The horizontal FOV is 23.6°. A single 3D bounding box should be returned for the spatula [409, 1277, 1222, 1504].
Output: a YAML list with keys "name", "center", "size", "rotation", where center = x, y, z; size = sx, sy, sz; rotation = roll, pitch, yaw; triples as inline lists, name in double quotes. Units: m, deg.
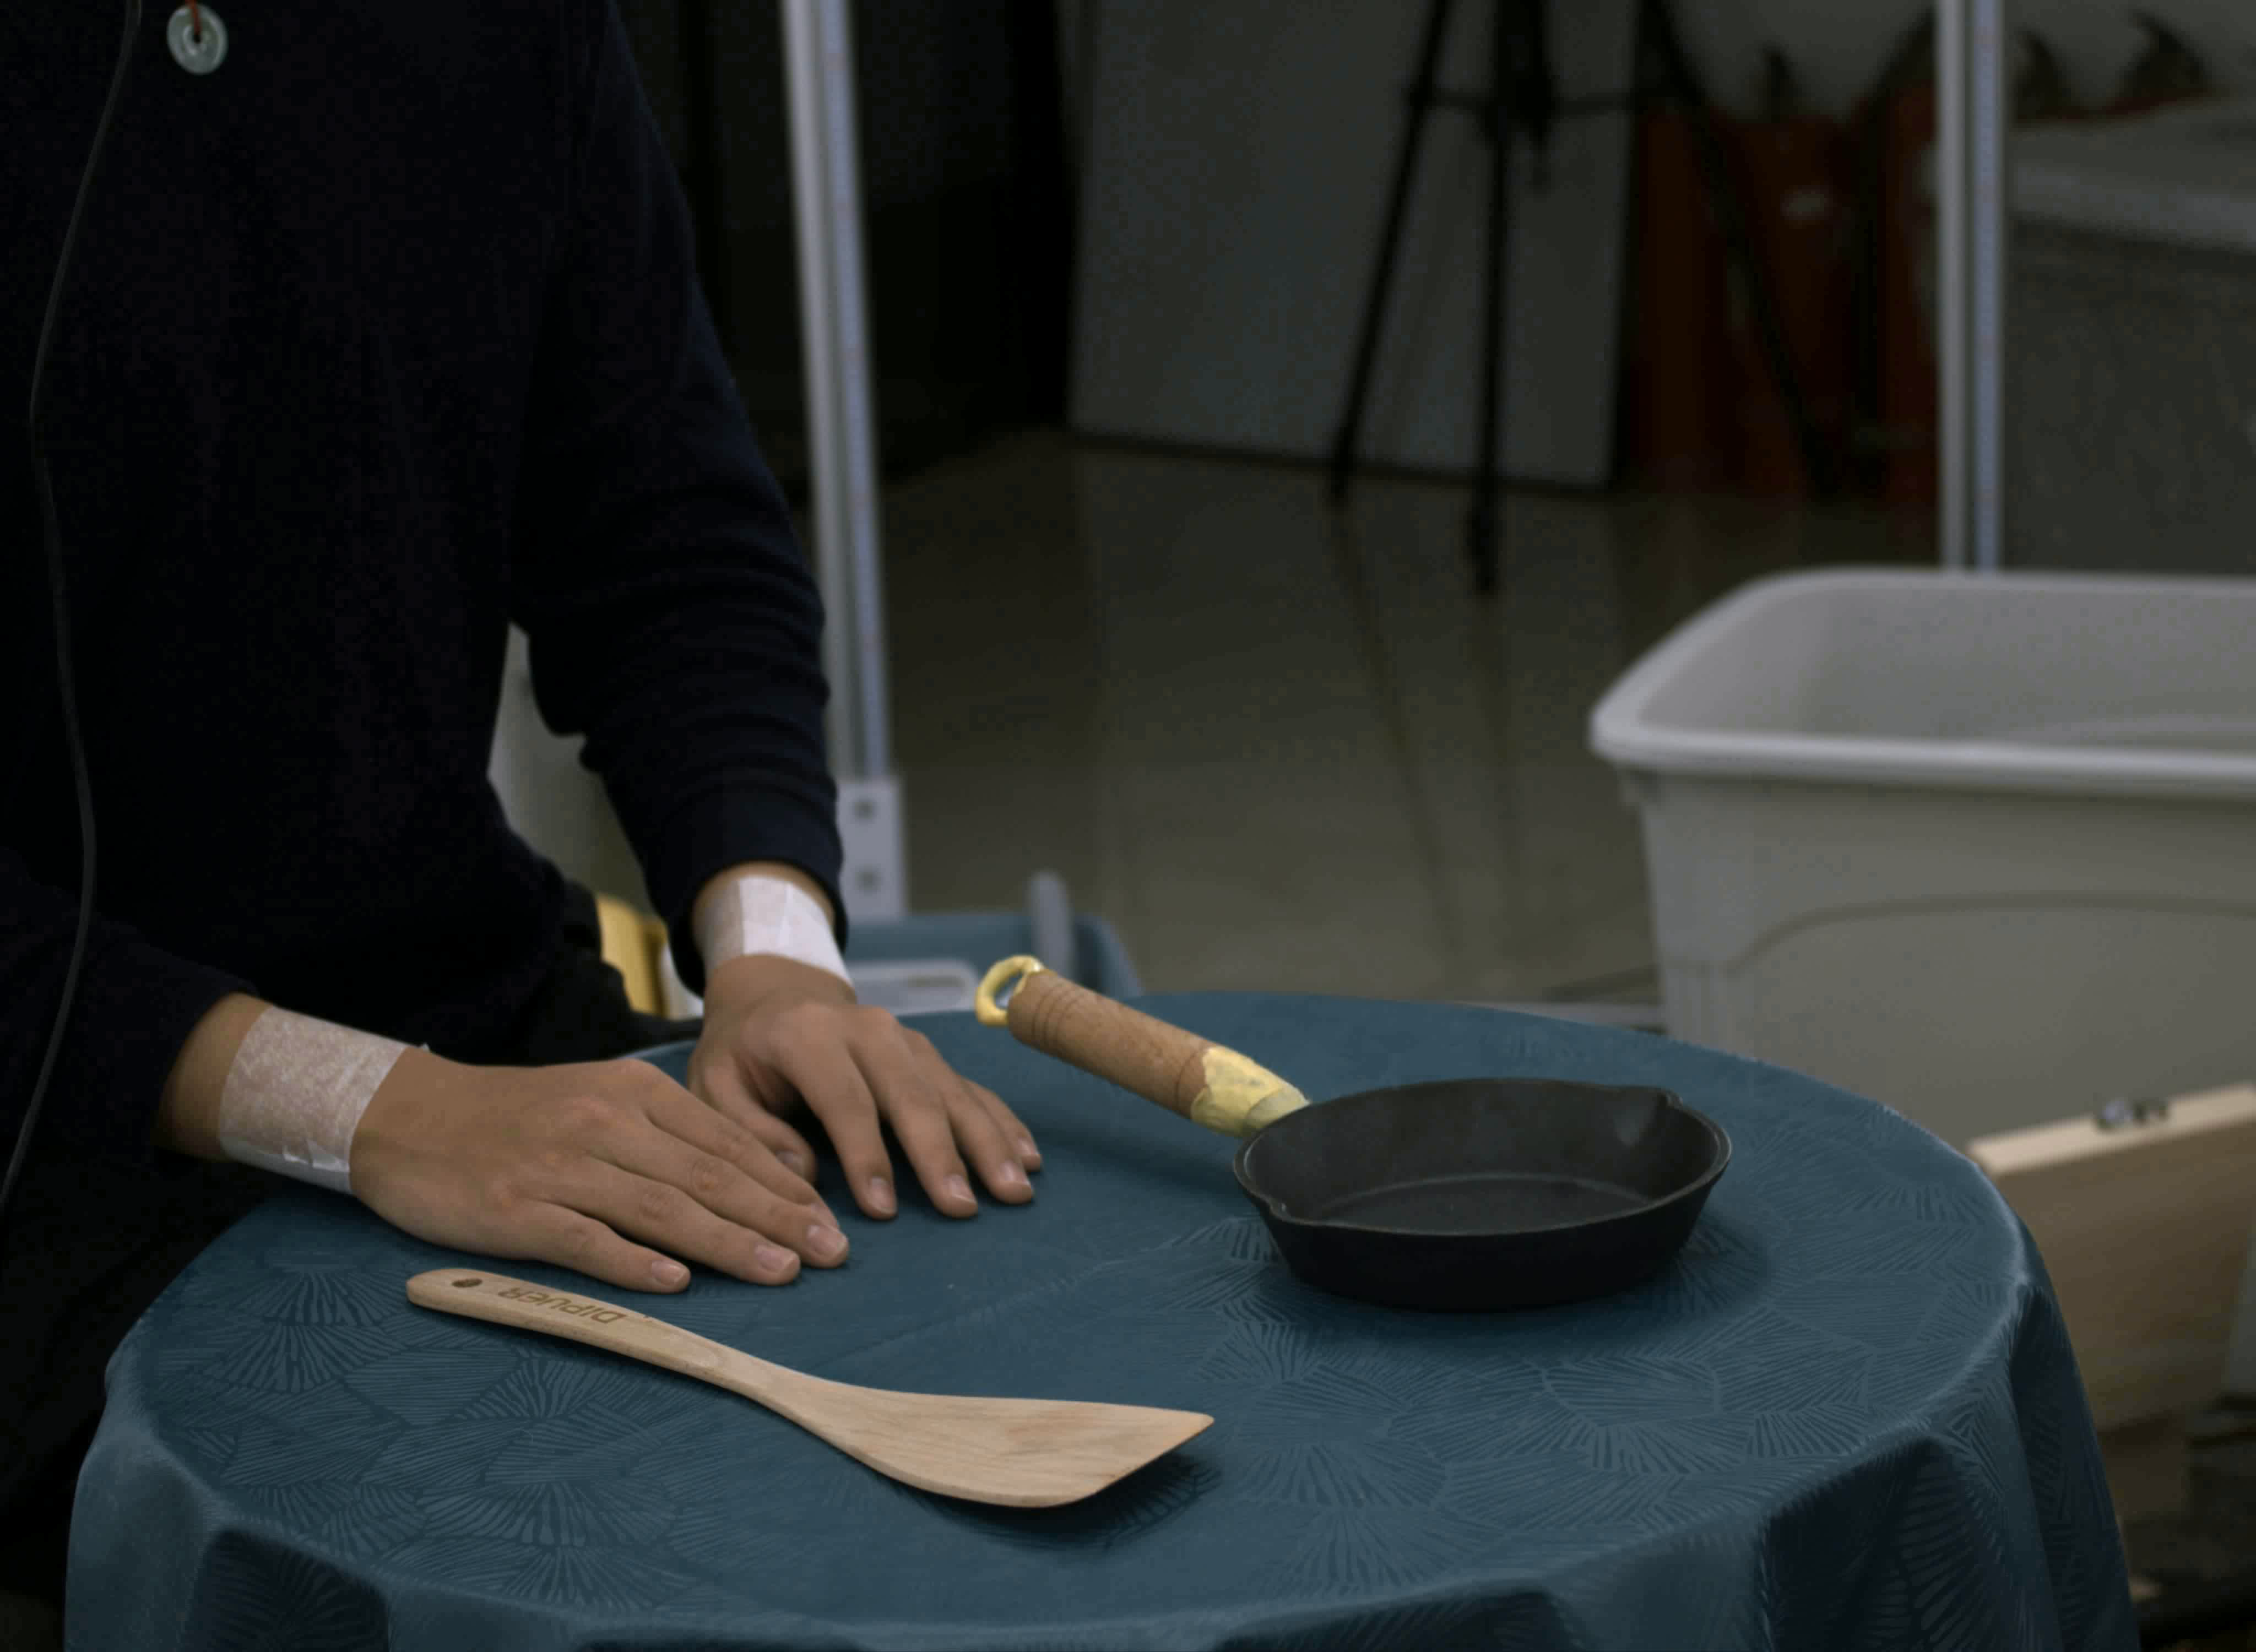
- name: "spatula"
  center: [-0.104, 0.162, 1.602]
  size: [0.330, 0.017, 0.078]
  rotation: [9, 18, 44]

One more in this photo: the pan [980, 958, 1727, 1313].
- name: "pan"
  center: [0.058, 0.096, 1.750]
  size: [0.165, 0.050, 0.327]
  rotation: [-14, 18, -36]
